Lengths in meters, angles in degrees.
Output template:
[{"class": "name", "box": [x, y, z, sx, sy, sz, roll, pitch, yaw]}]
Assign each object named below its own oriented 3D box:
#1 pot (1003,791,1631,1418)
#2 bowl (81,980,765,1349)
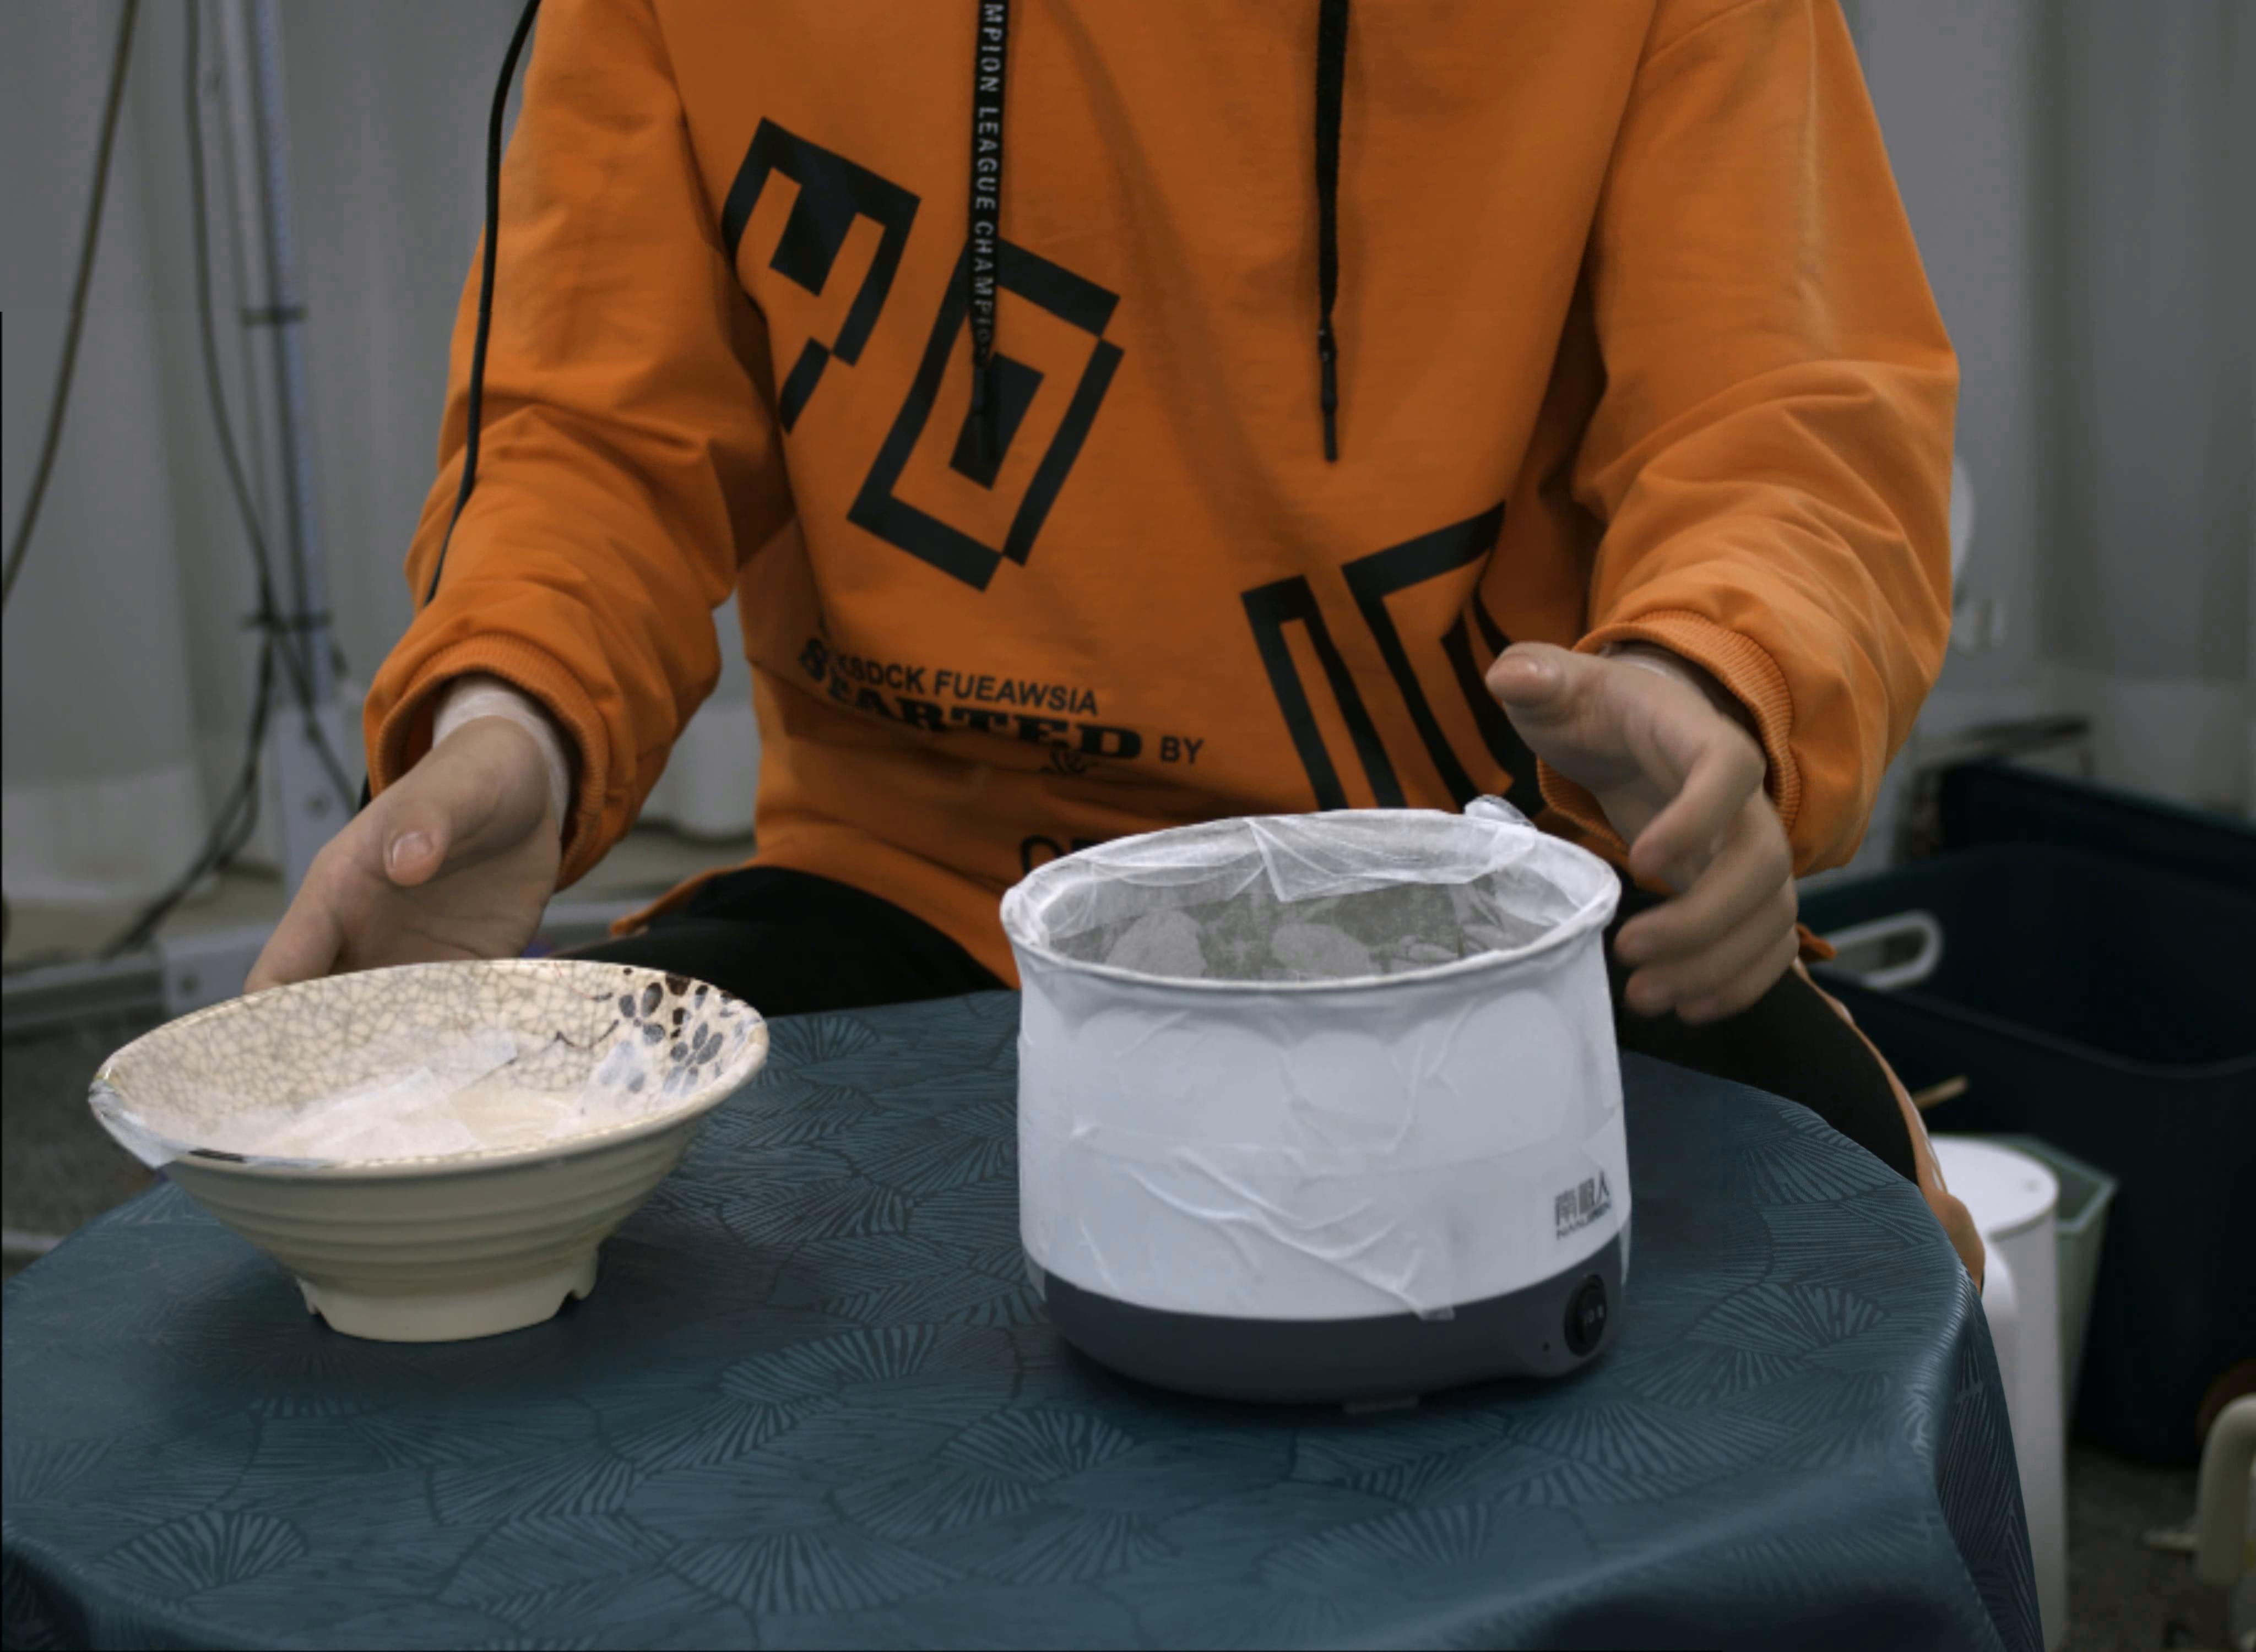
[{"class": "pot", "box": [0.070, 0.073, 1.591, 0.179, 0.136, 0.234, 7, 18, 32]}, {"class": "bowl", "box": [-0.209, 0.108, 1.644, 0.203, 0.078, 0.205, -2, 12, 0]}]
